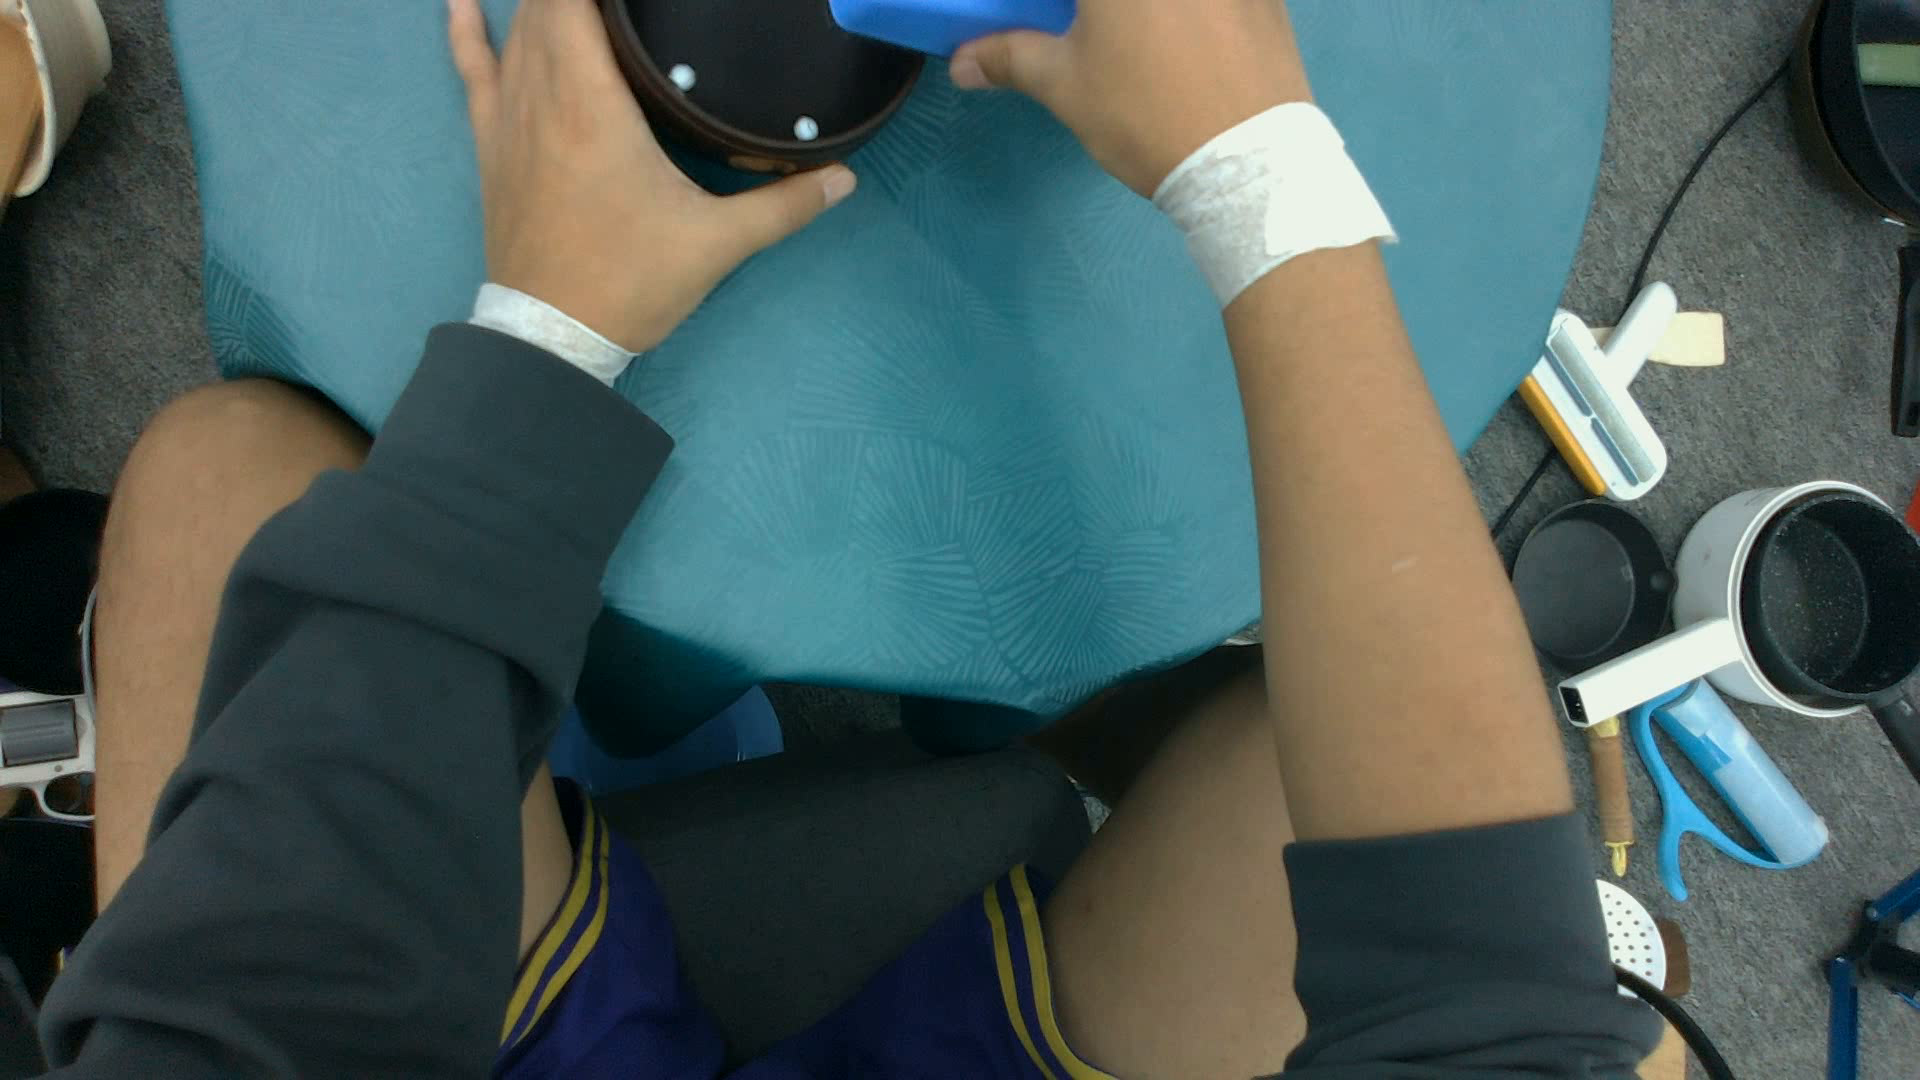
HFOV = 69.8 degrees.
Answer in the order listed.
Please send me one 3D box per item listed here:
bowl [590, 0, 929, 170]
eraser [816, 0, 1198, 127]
[{"bbox_3d":[-0.077,-0.192,0.502,0.118,0.070,0.118,0,89,-23],"label":"bowl"},{"bbox_3d":[0.025,-0.194,0.497,0.162,0.047,0.054,0,84,-39],"label":"eraser"}]
